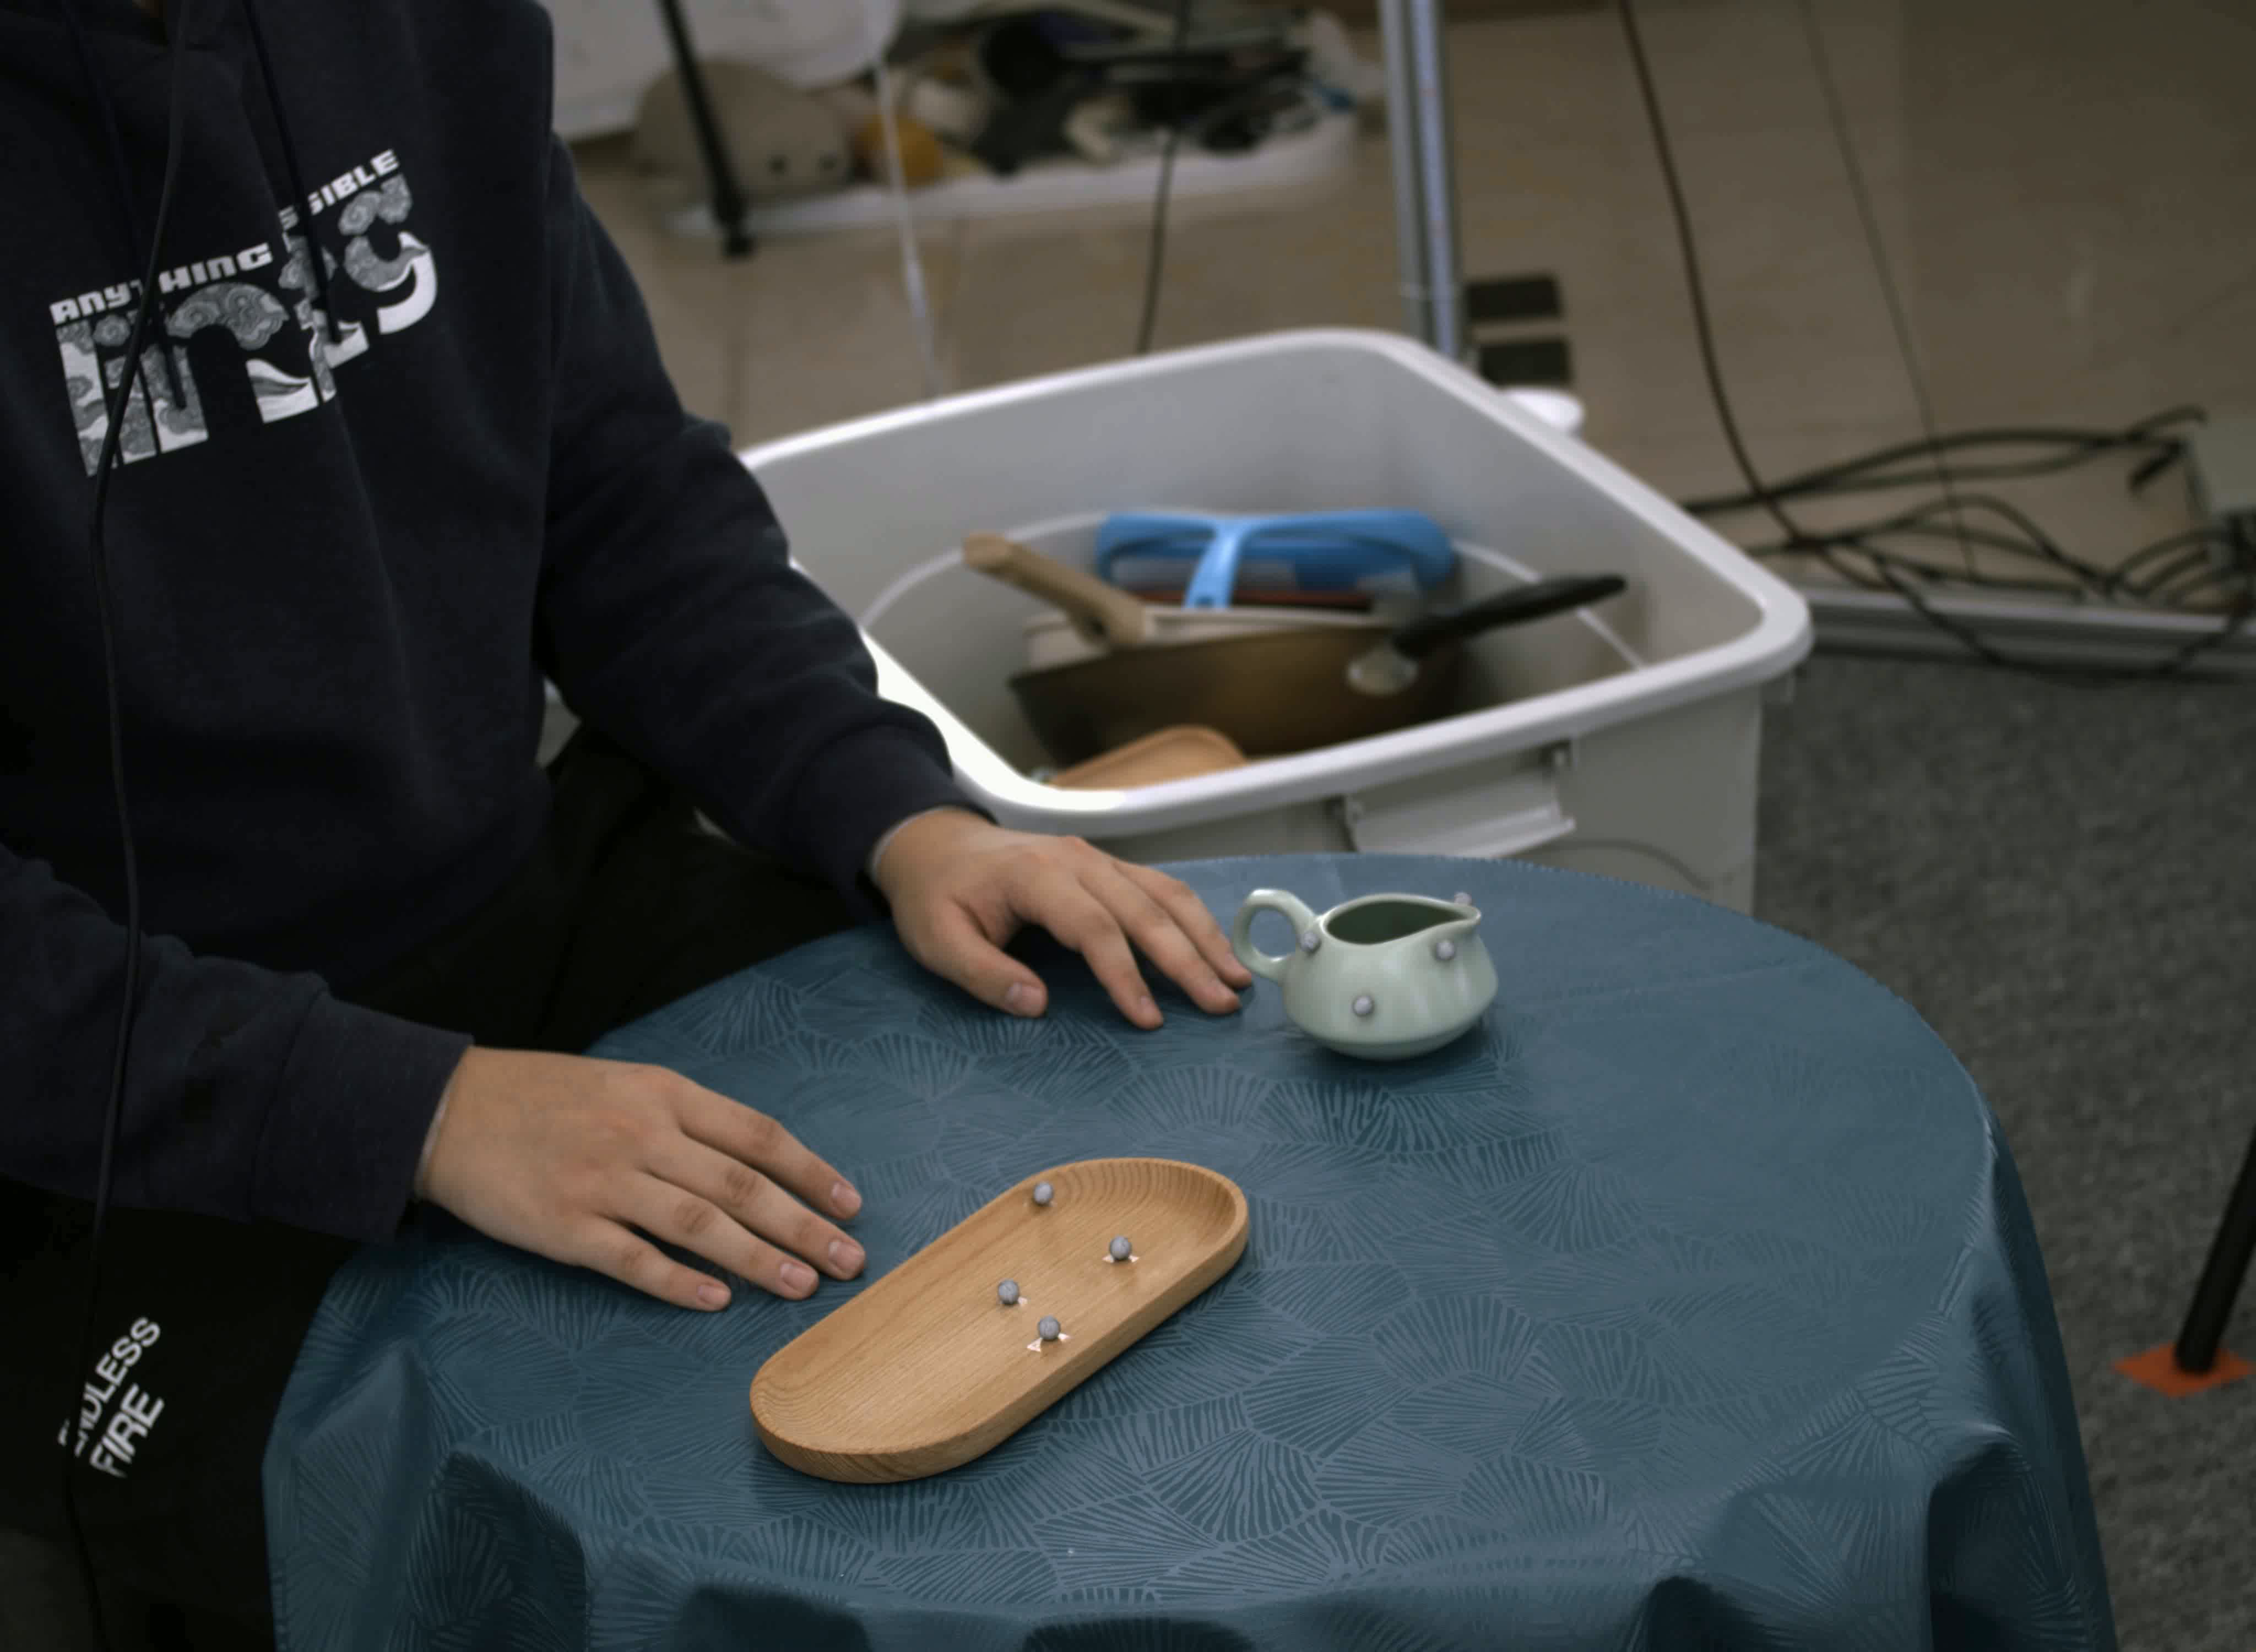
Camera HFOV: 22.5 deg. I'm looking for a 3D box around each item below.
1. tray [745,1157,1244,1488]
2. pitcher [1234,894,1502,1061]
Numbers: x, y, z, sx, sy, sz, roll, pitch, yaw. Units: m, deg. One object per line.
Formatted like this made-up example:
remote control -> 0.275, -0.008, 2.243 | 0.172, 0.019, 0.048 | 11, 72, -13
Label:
tray -> -0.046, 0.178, 2.055 | 0.101, 0.020, 0.228 | 11, 32, 36
pitcher -> 0.093, 0.057, 2.238 | 0.108, 0.061, 0.085 | 2, 25, 22
